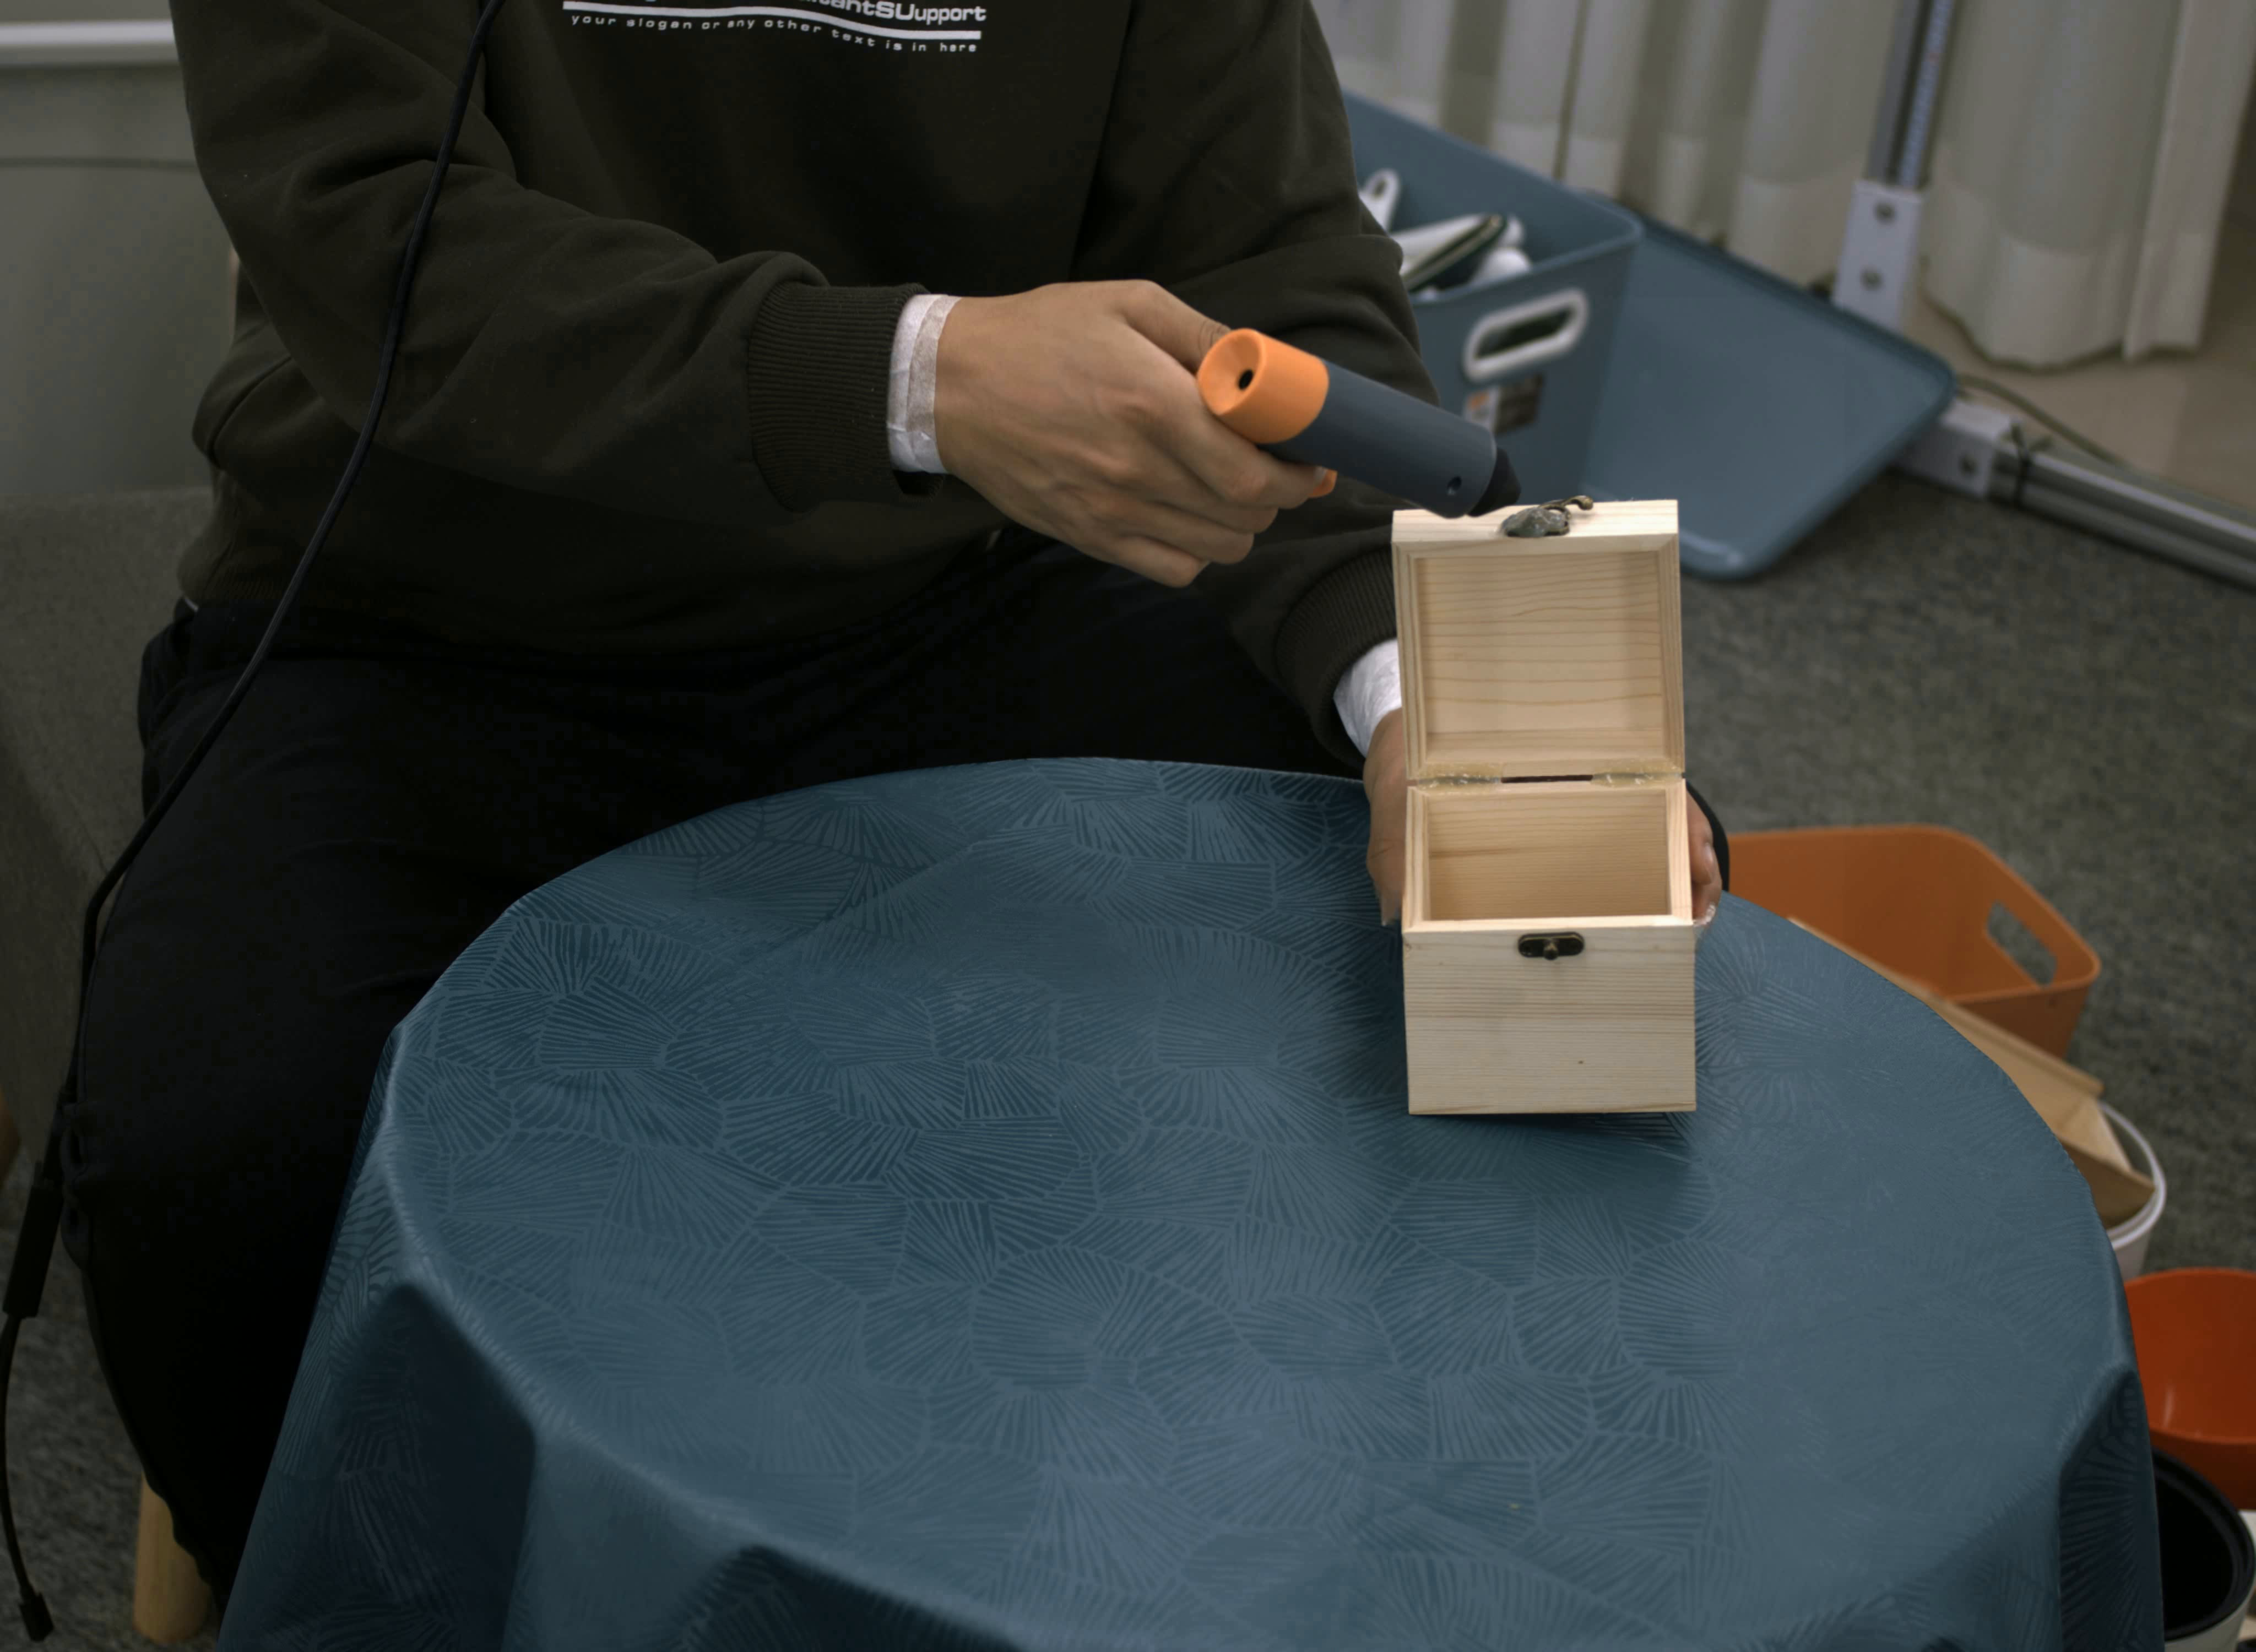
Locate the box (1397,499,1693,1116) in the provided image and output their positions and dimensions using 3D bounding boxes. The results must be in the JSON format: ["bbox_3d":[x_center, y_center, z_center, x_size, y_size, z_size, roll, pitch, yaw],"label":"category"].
[{"bbox_3d":[0.147,-0.007,1.878,0.102,0.183,0.134,-1,29,5],"label":"box"}]

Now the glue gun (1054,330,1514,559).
[{"bbox_3d":[0.052,-0.128,1.864,0.140,0.041,0.117,-8,-30,44],"label":"glue gun"}]
